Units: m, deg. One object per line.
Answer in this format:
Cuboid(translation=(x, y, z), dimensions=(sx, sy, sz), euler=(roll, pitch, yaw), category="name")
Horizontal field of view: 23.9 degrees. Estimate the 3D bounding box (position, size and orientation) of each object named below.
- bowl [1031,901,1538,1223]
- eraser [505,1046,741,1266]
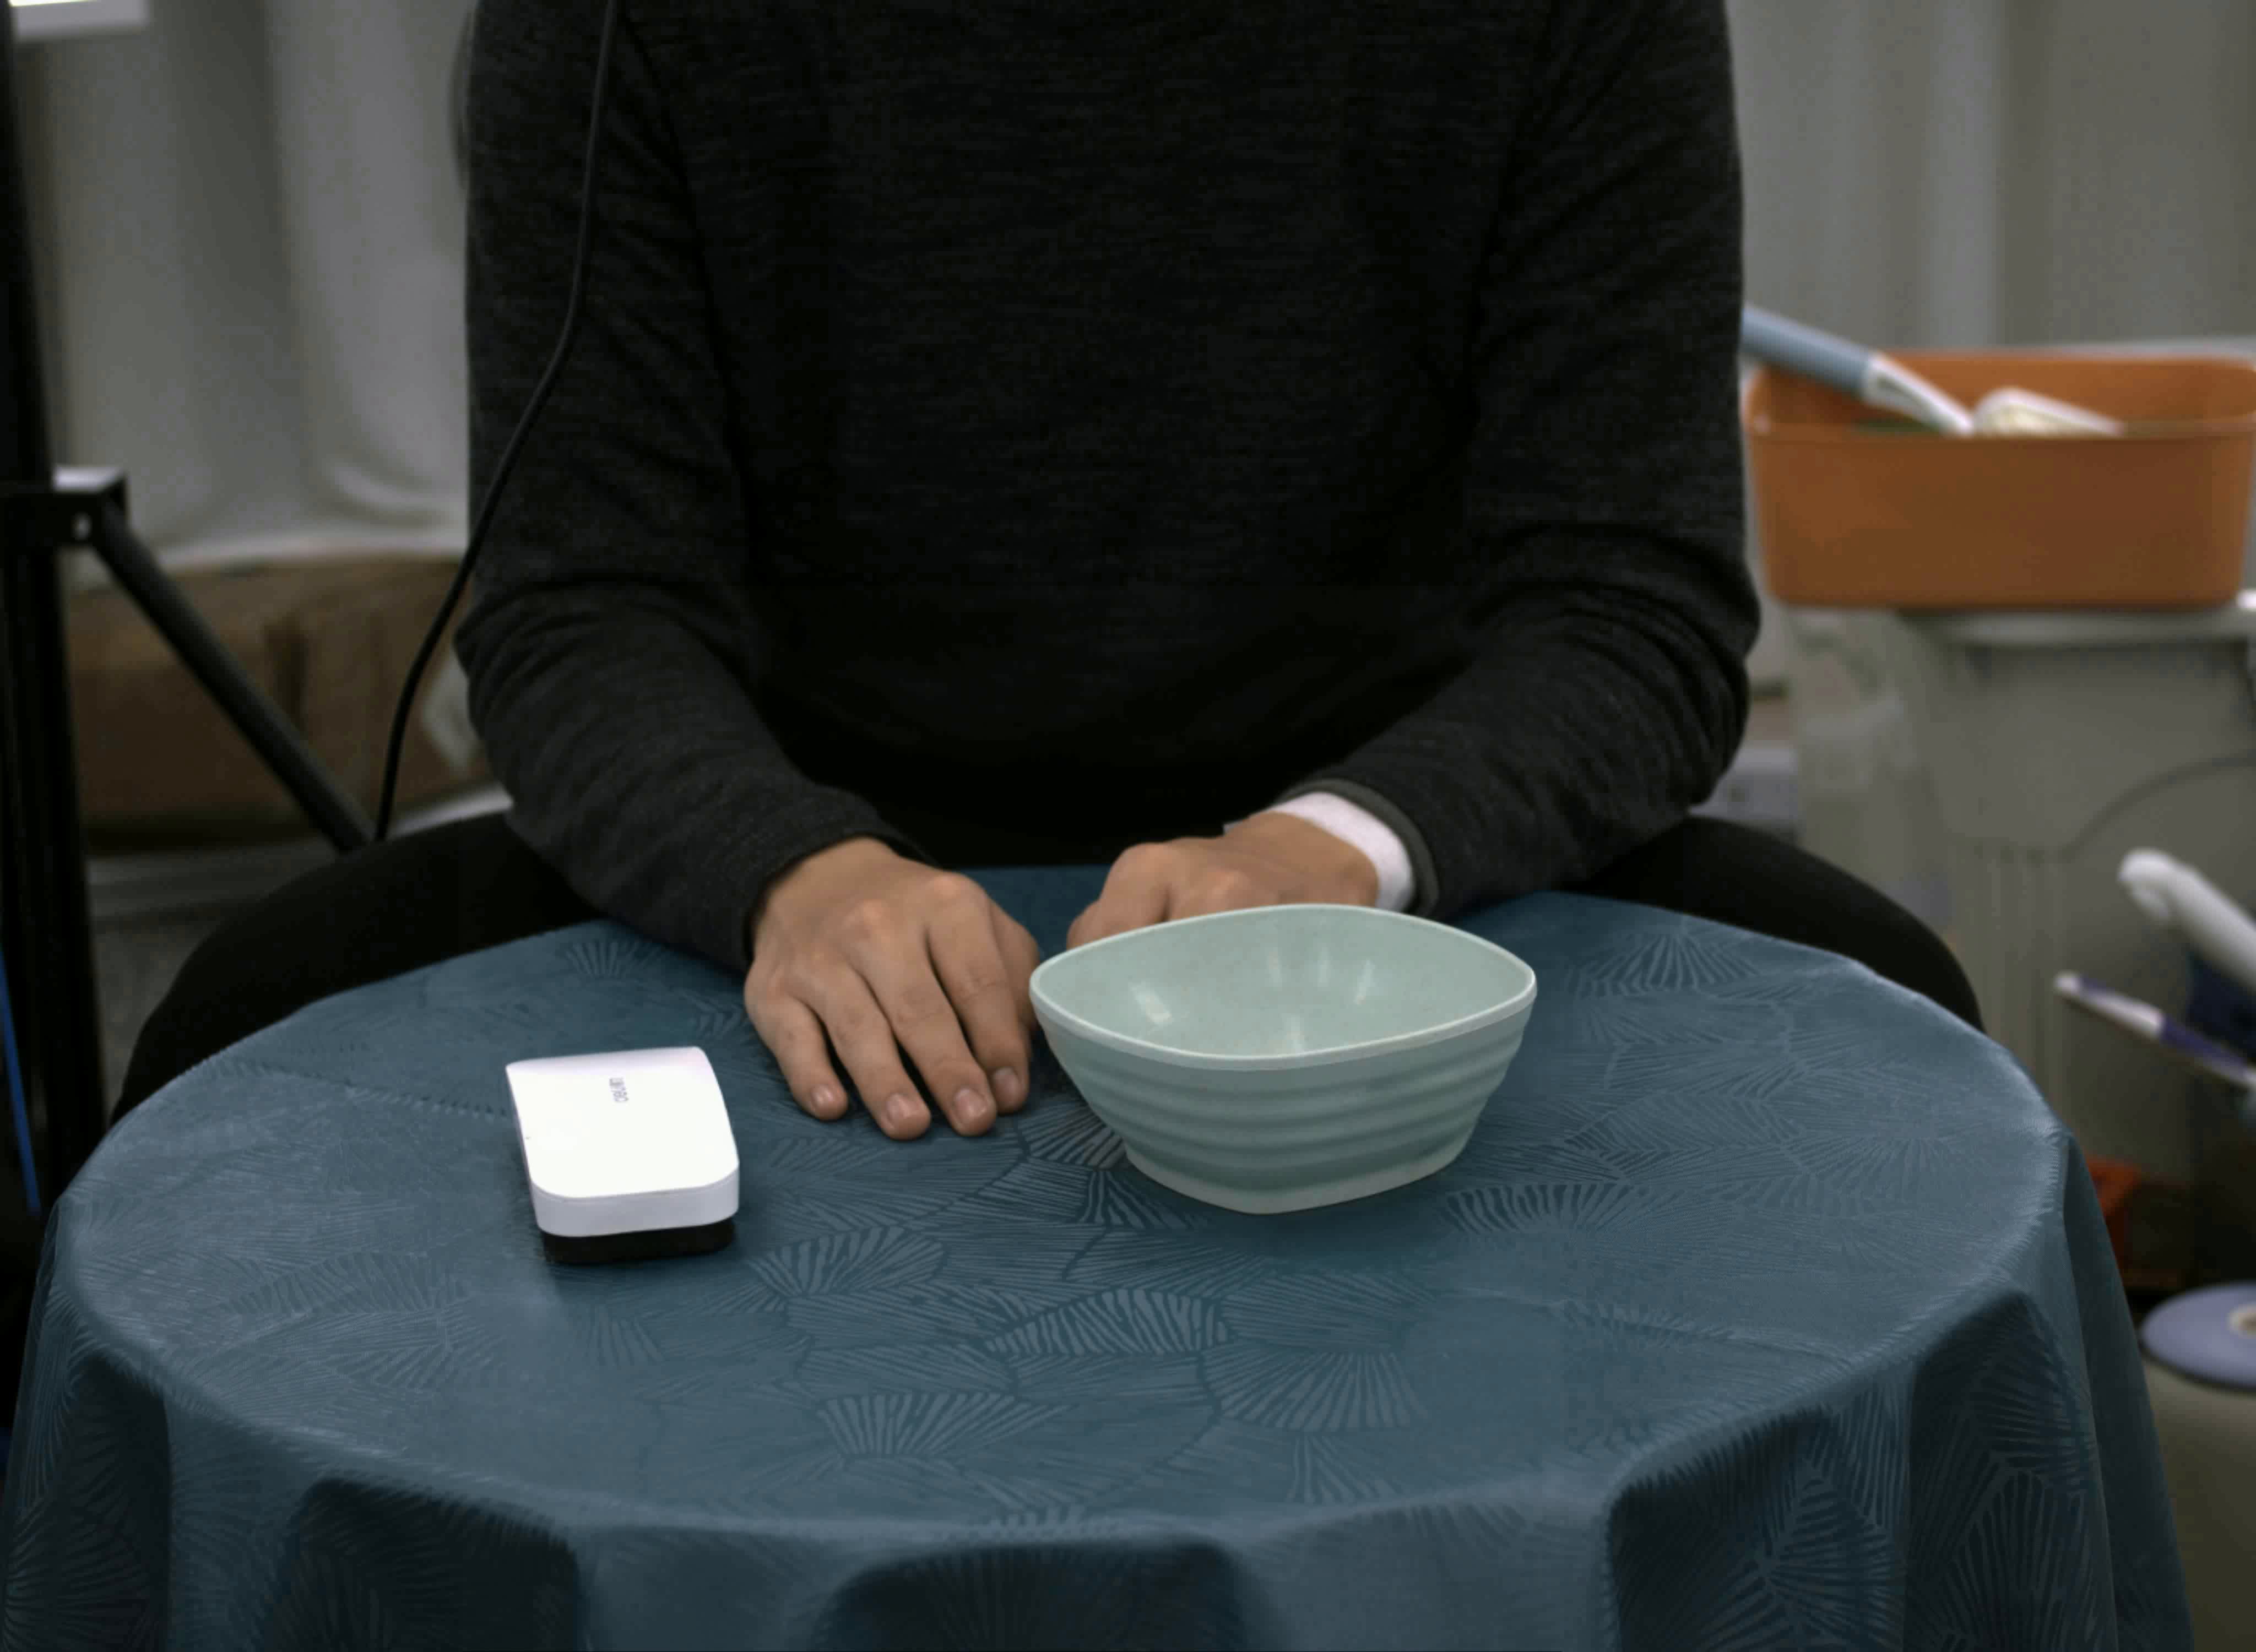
Cuboid(translation=(0.046, 0.073, 1.572), dimensions=(0.150, 0.058, 0.152), euler=(-2, 17, -1), category="bowl")
Cuboid(translation=(-0.149, 0.093, 1.577), dimensions=(0.062, 0.034, 0.133), euler=(-3, 17, -9), category="eraser")
